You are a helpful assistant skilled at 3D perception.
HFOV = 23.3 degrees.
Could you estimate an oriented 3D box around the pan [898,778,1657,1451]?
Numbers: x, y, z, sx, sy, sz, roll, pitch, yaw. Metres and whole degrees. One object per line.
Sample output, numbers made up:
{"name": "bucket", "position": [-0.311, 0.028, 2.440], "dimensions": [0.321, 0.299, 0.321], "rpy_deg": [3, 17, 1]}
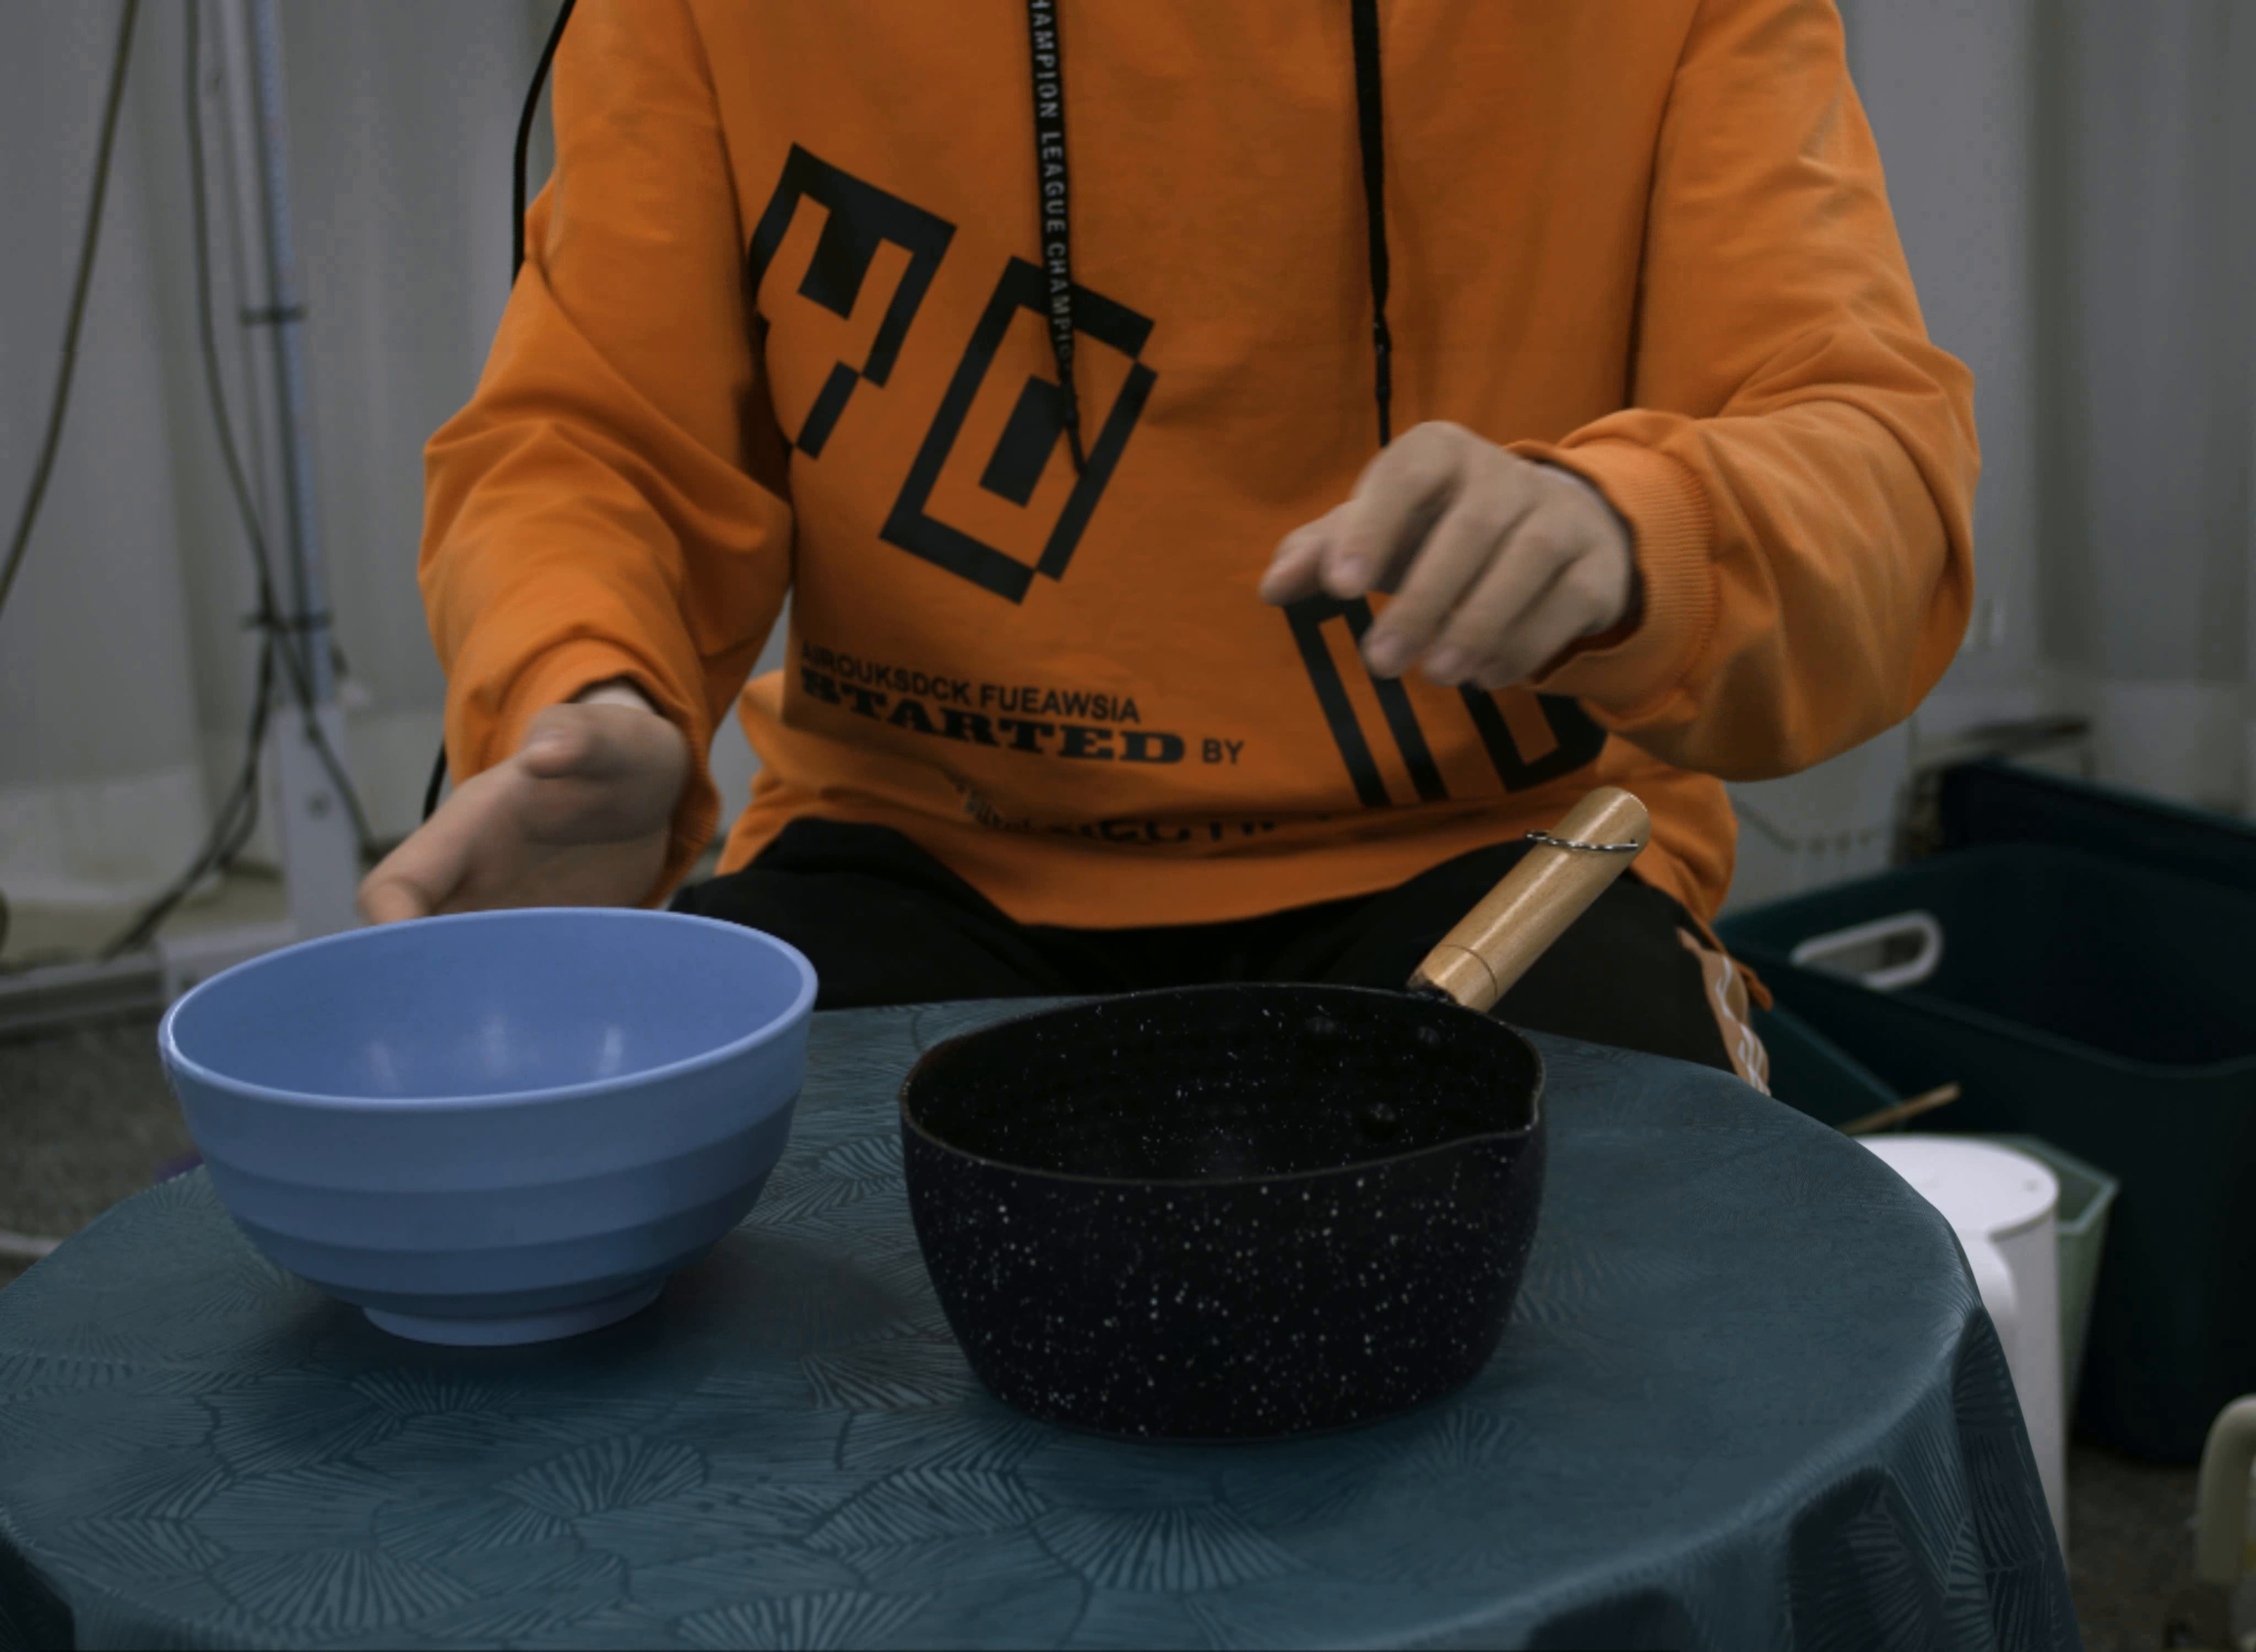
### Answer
{"name": "pan", "position": [0.070, 0.081, 1.623], "dimensions": [0.208, 0.108, 0.343], "rpy_deg": [5, 18, 32]}

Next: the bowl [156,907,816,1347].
{"name": "bowl", "position": [-0.188, 0.096, 1.640], "dimensions": [0.196, 0.095, 0.198], "rpy_deg": [-4, 15, 1]}
